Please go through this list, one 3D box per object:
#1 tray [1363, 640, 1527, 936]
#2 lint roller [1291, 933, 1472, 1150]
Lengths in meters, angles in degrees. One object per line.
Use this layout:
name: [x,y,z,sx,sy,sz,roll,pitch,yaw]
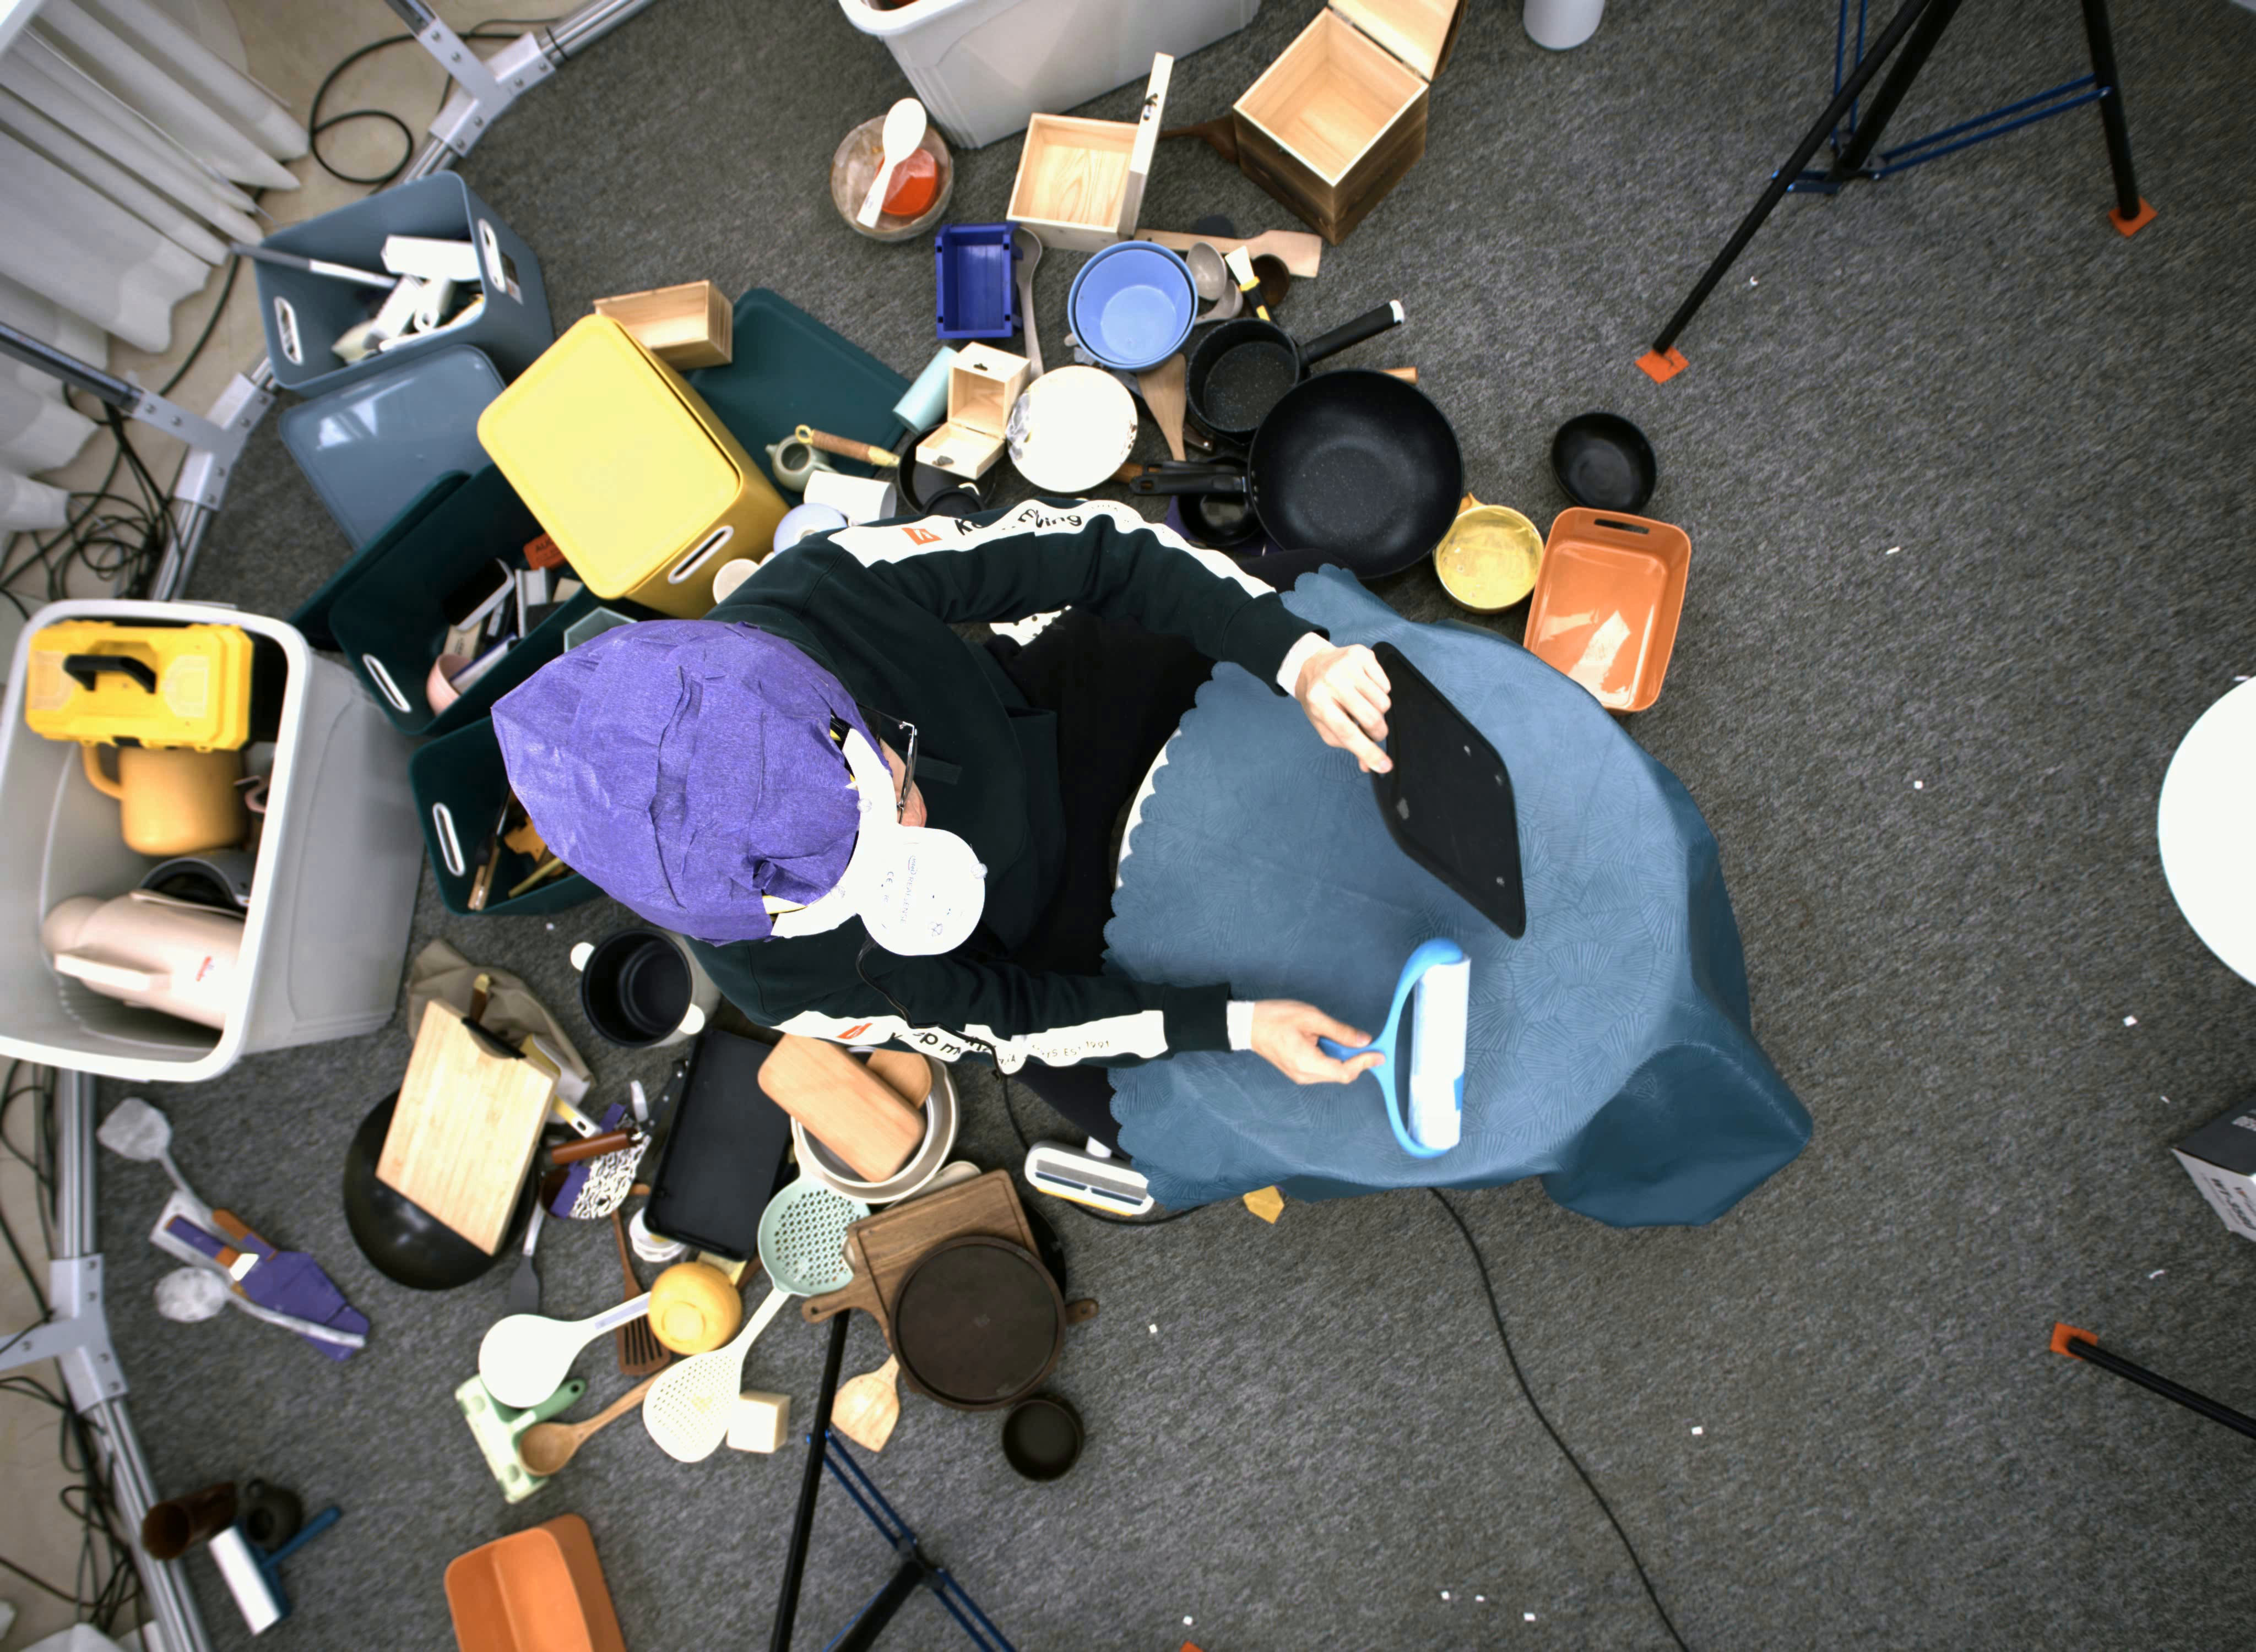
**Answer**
tray: [0.297,-0.035,1.262,0.010,0.328,0.206,-17,59,33]
lint roller: [0.252,0.216,1.378,0.181,0.066,0.232,-3,110,9]
